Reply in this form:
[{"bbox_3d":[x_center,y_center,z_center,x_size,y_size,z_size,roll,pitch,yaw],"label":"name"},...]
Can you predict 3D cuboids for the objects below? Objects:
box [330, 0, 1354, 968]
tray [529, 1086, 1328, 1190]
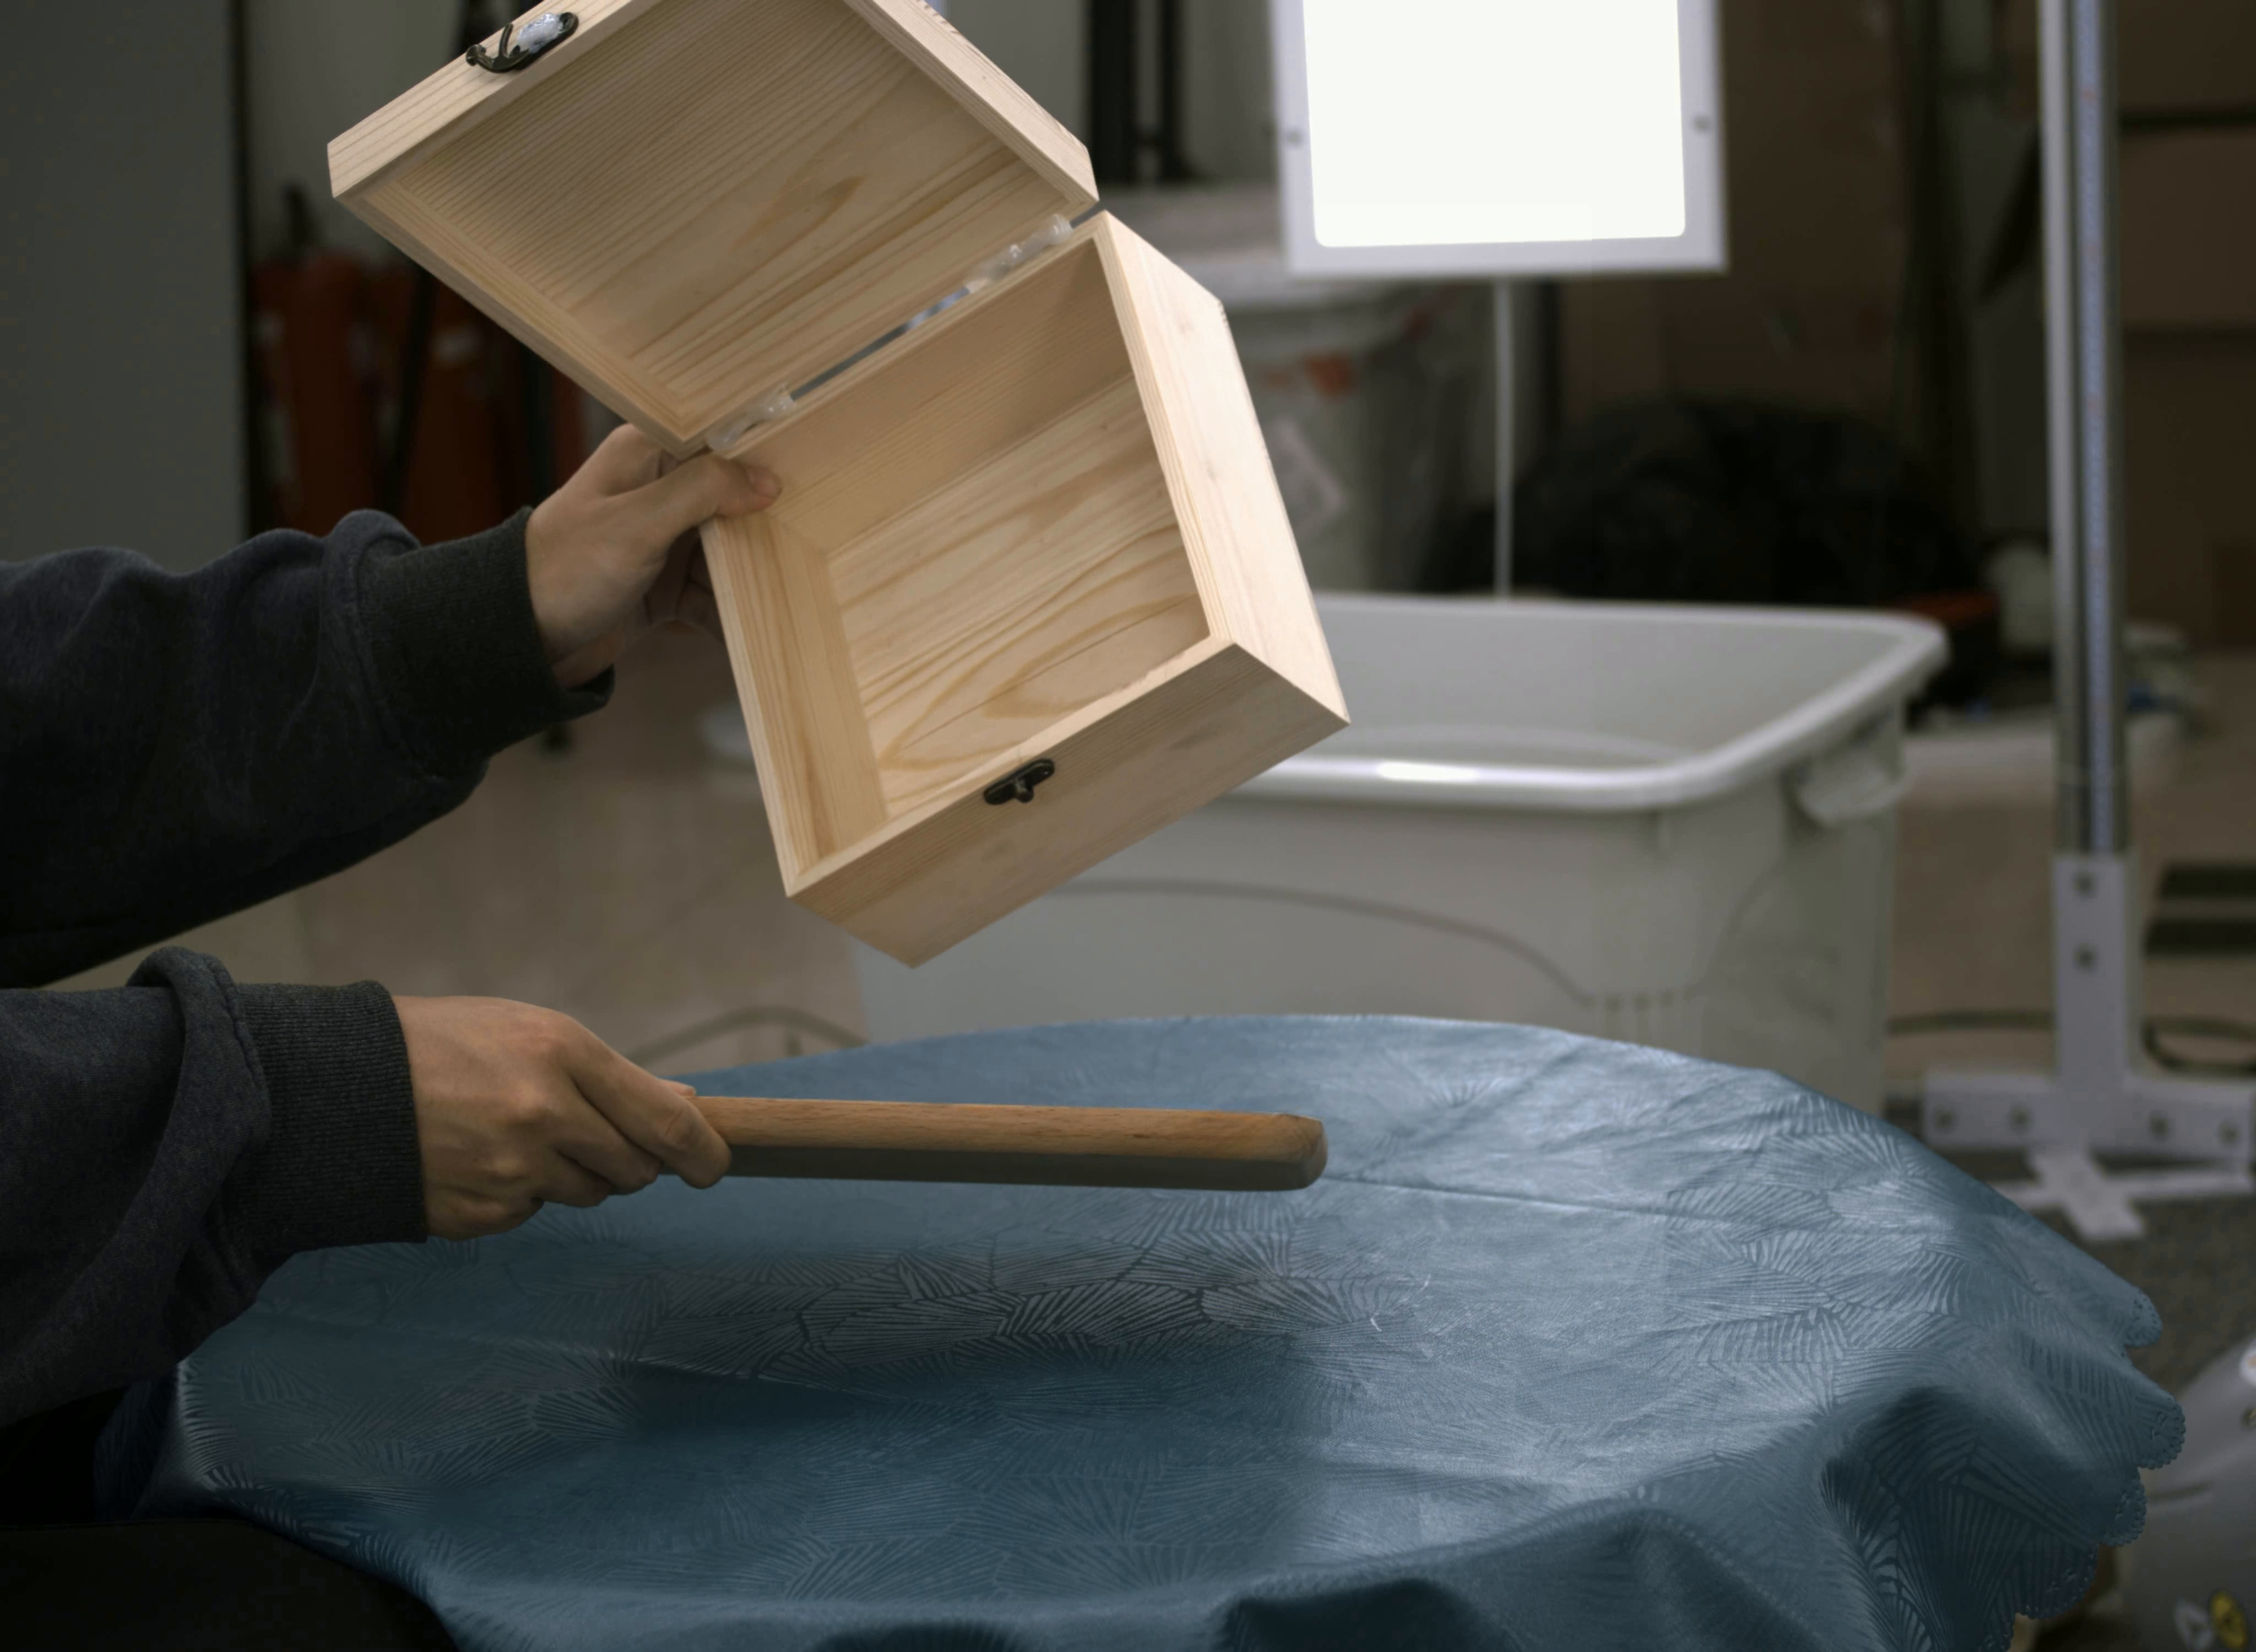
[{"bbox_3d":[-0.095,-0.136,1.802,0.185,0.266,0.248,-32,-37,24],"label":"box"},{"bbox_3d":[-0.062,0.100,1.757,0.251,0.023,0.130,1,-12,7],"label":"tray"}]
